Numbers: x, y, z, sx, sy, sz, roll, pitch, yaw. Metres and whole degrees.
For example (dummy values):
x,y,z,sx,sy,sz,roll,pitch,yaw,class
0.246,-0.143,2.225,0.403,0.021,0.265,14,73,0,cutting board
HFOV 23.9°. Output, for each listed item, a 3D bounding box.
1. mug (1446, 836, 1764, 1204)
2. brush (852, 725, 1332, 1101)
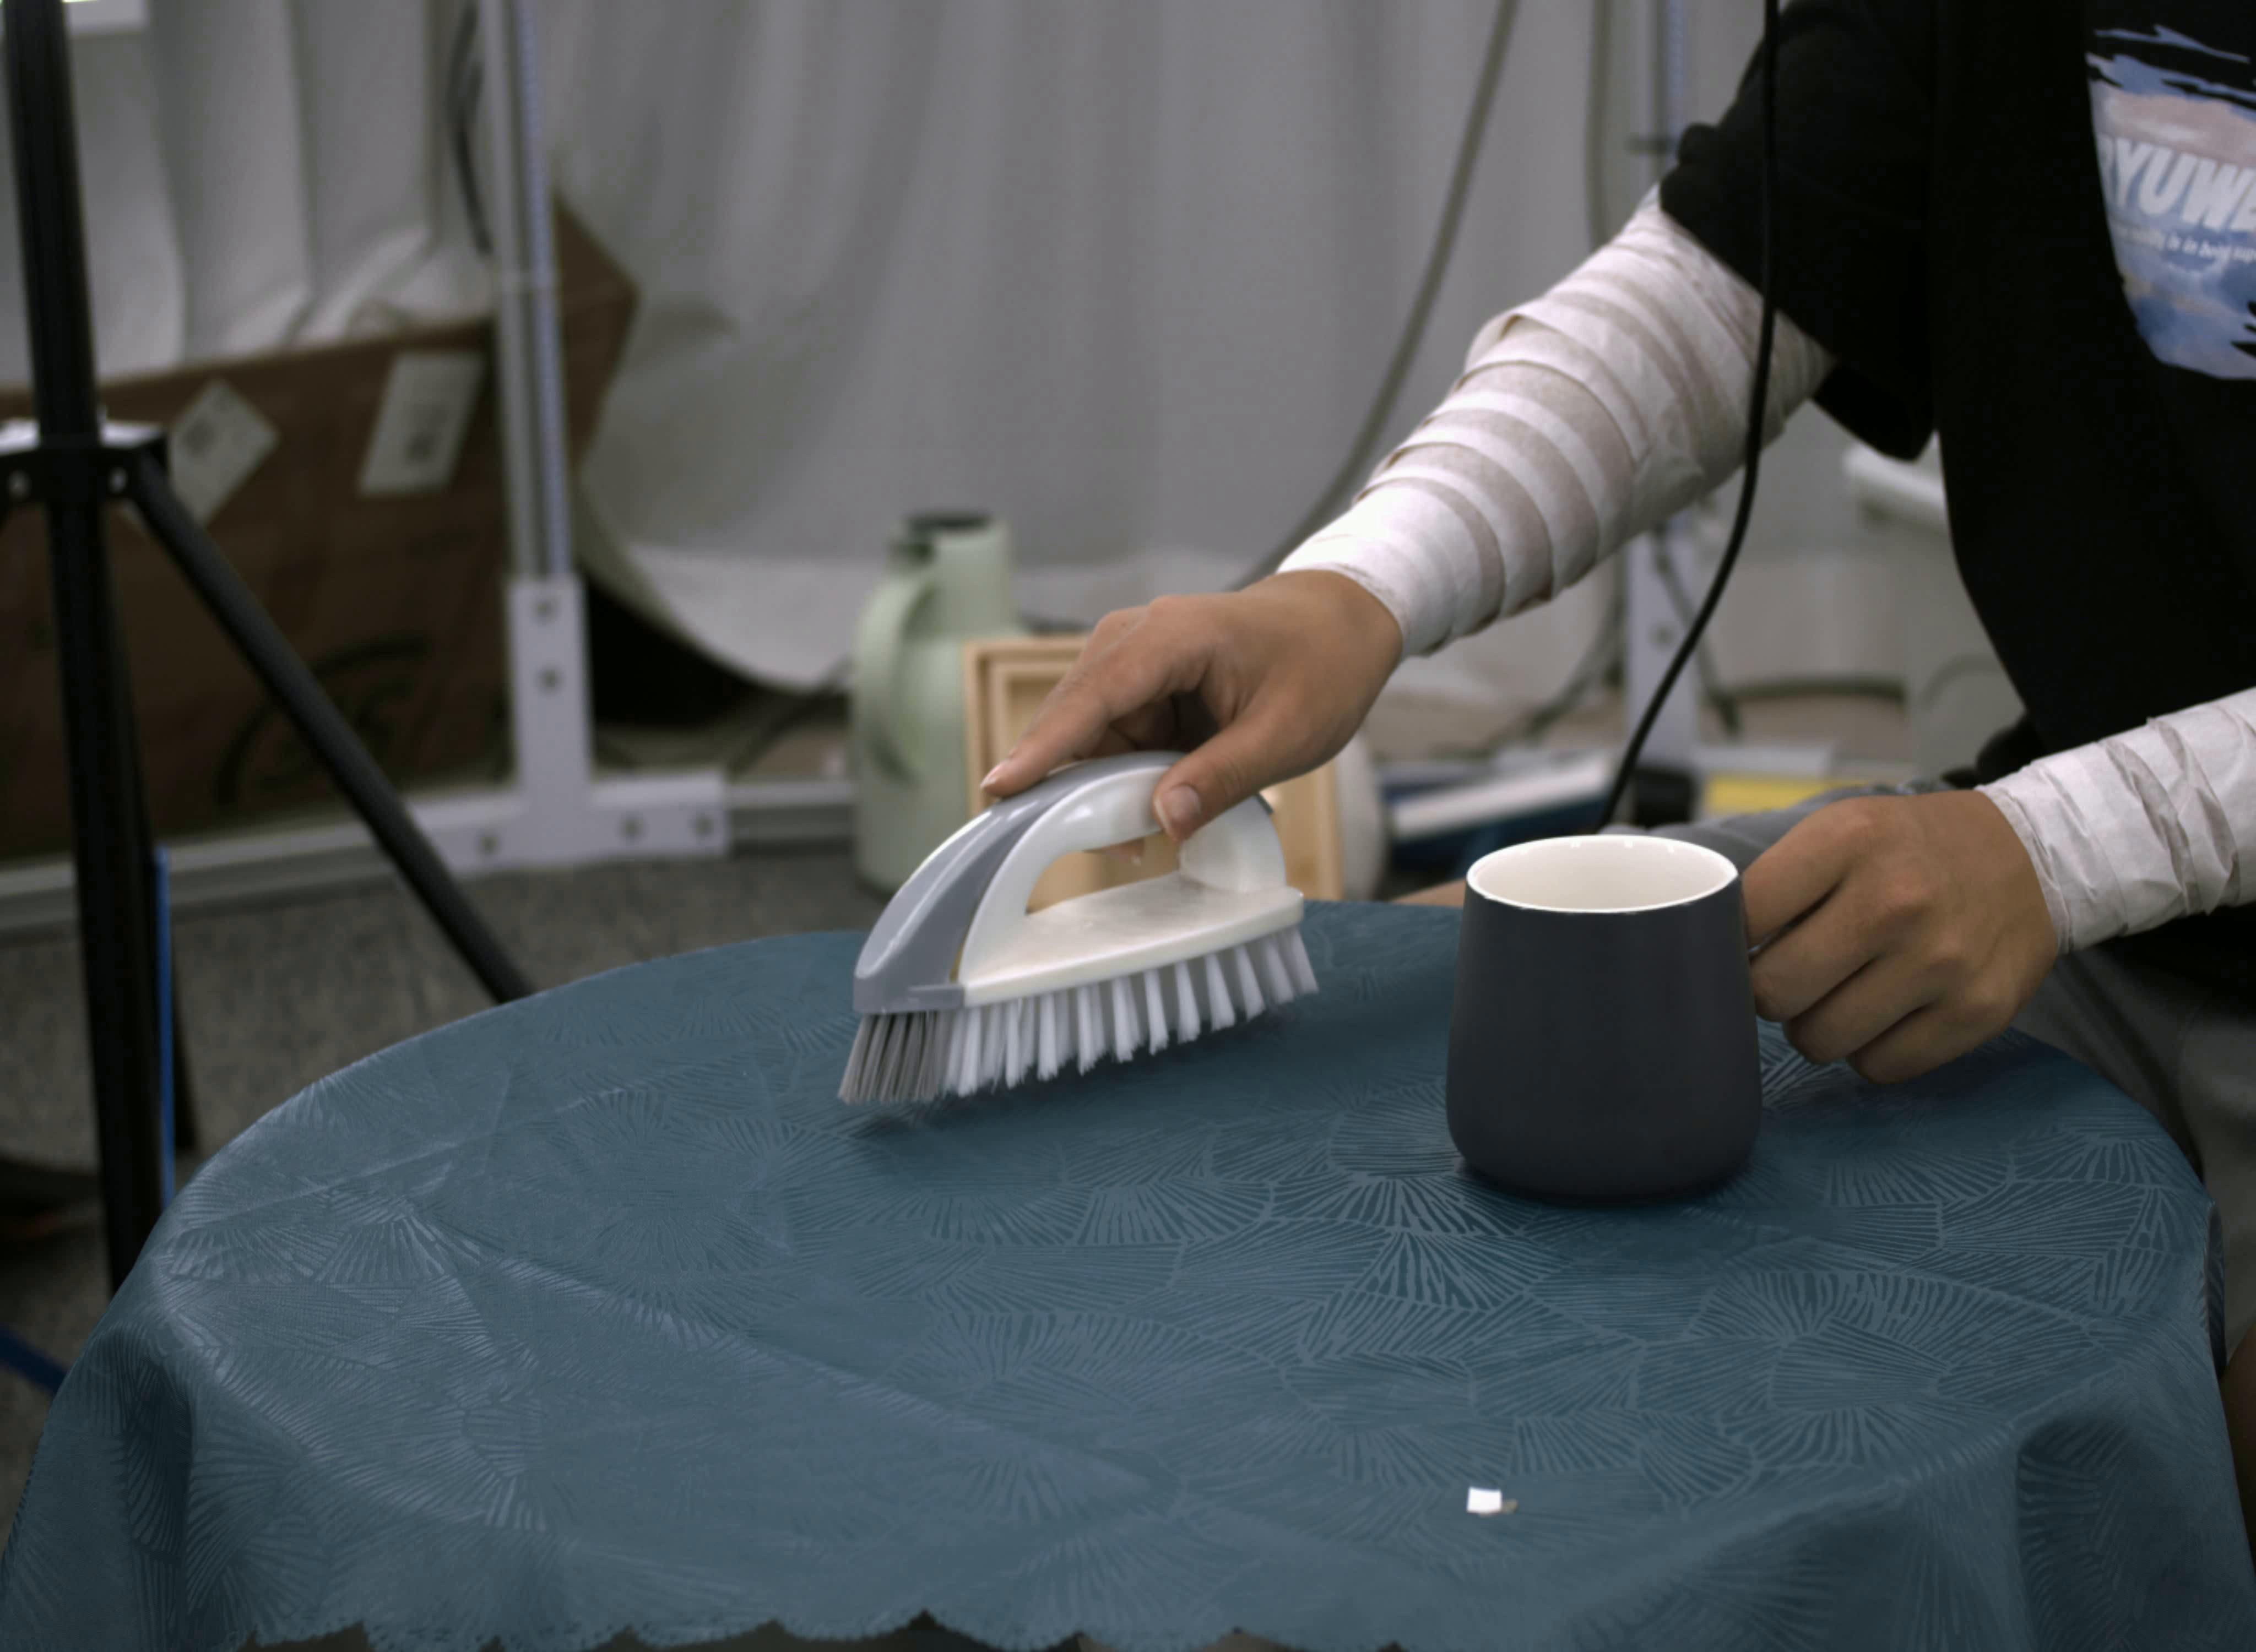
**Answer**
x,y,z,sx,sy,sz,roll,pitch,yaw,class
0.148,0.054,1.565,0.095,0.090,0.121,8,19,36,mug
-0.019,0.024,1.657,0.172,0.094,0.063,-18,18,-33,brush
